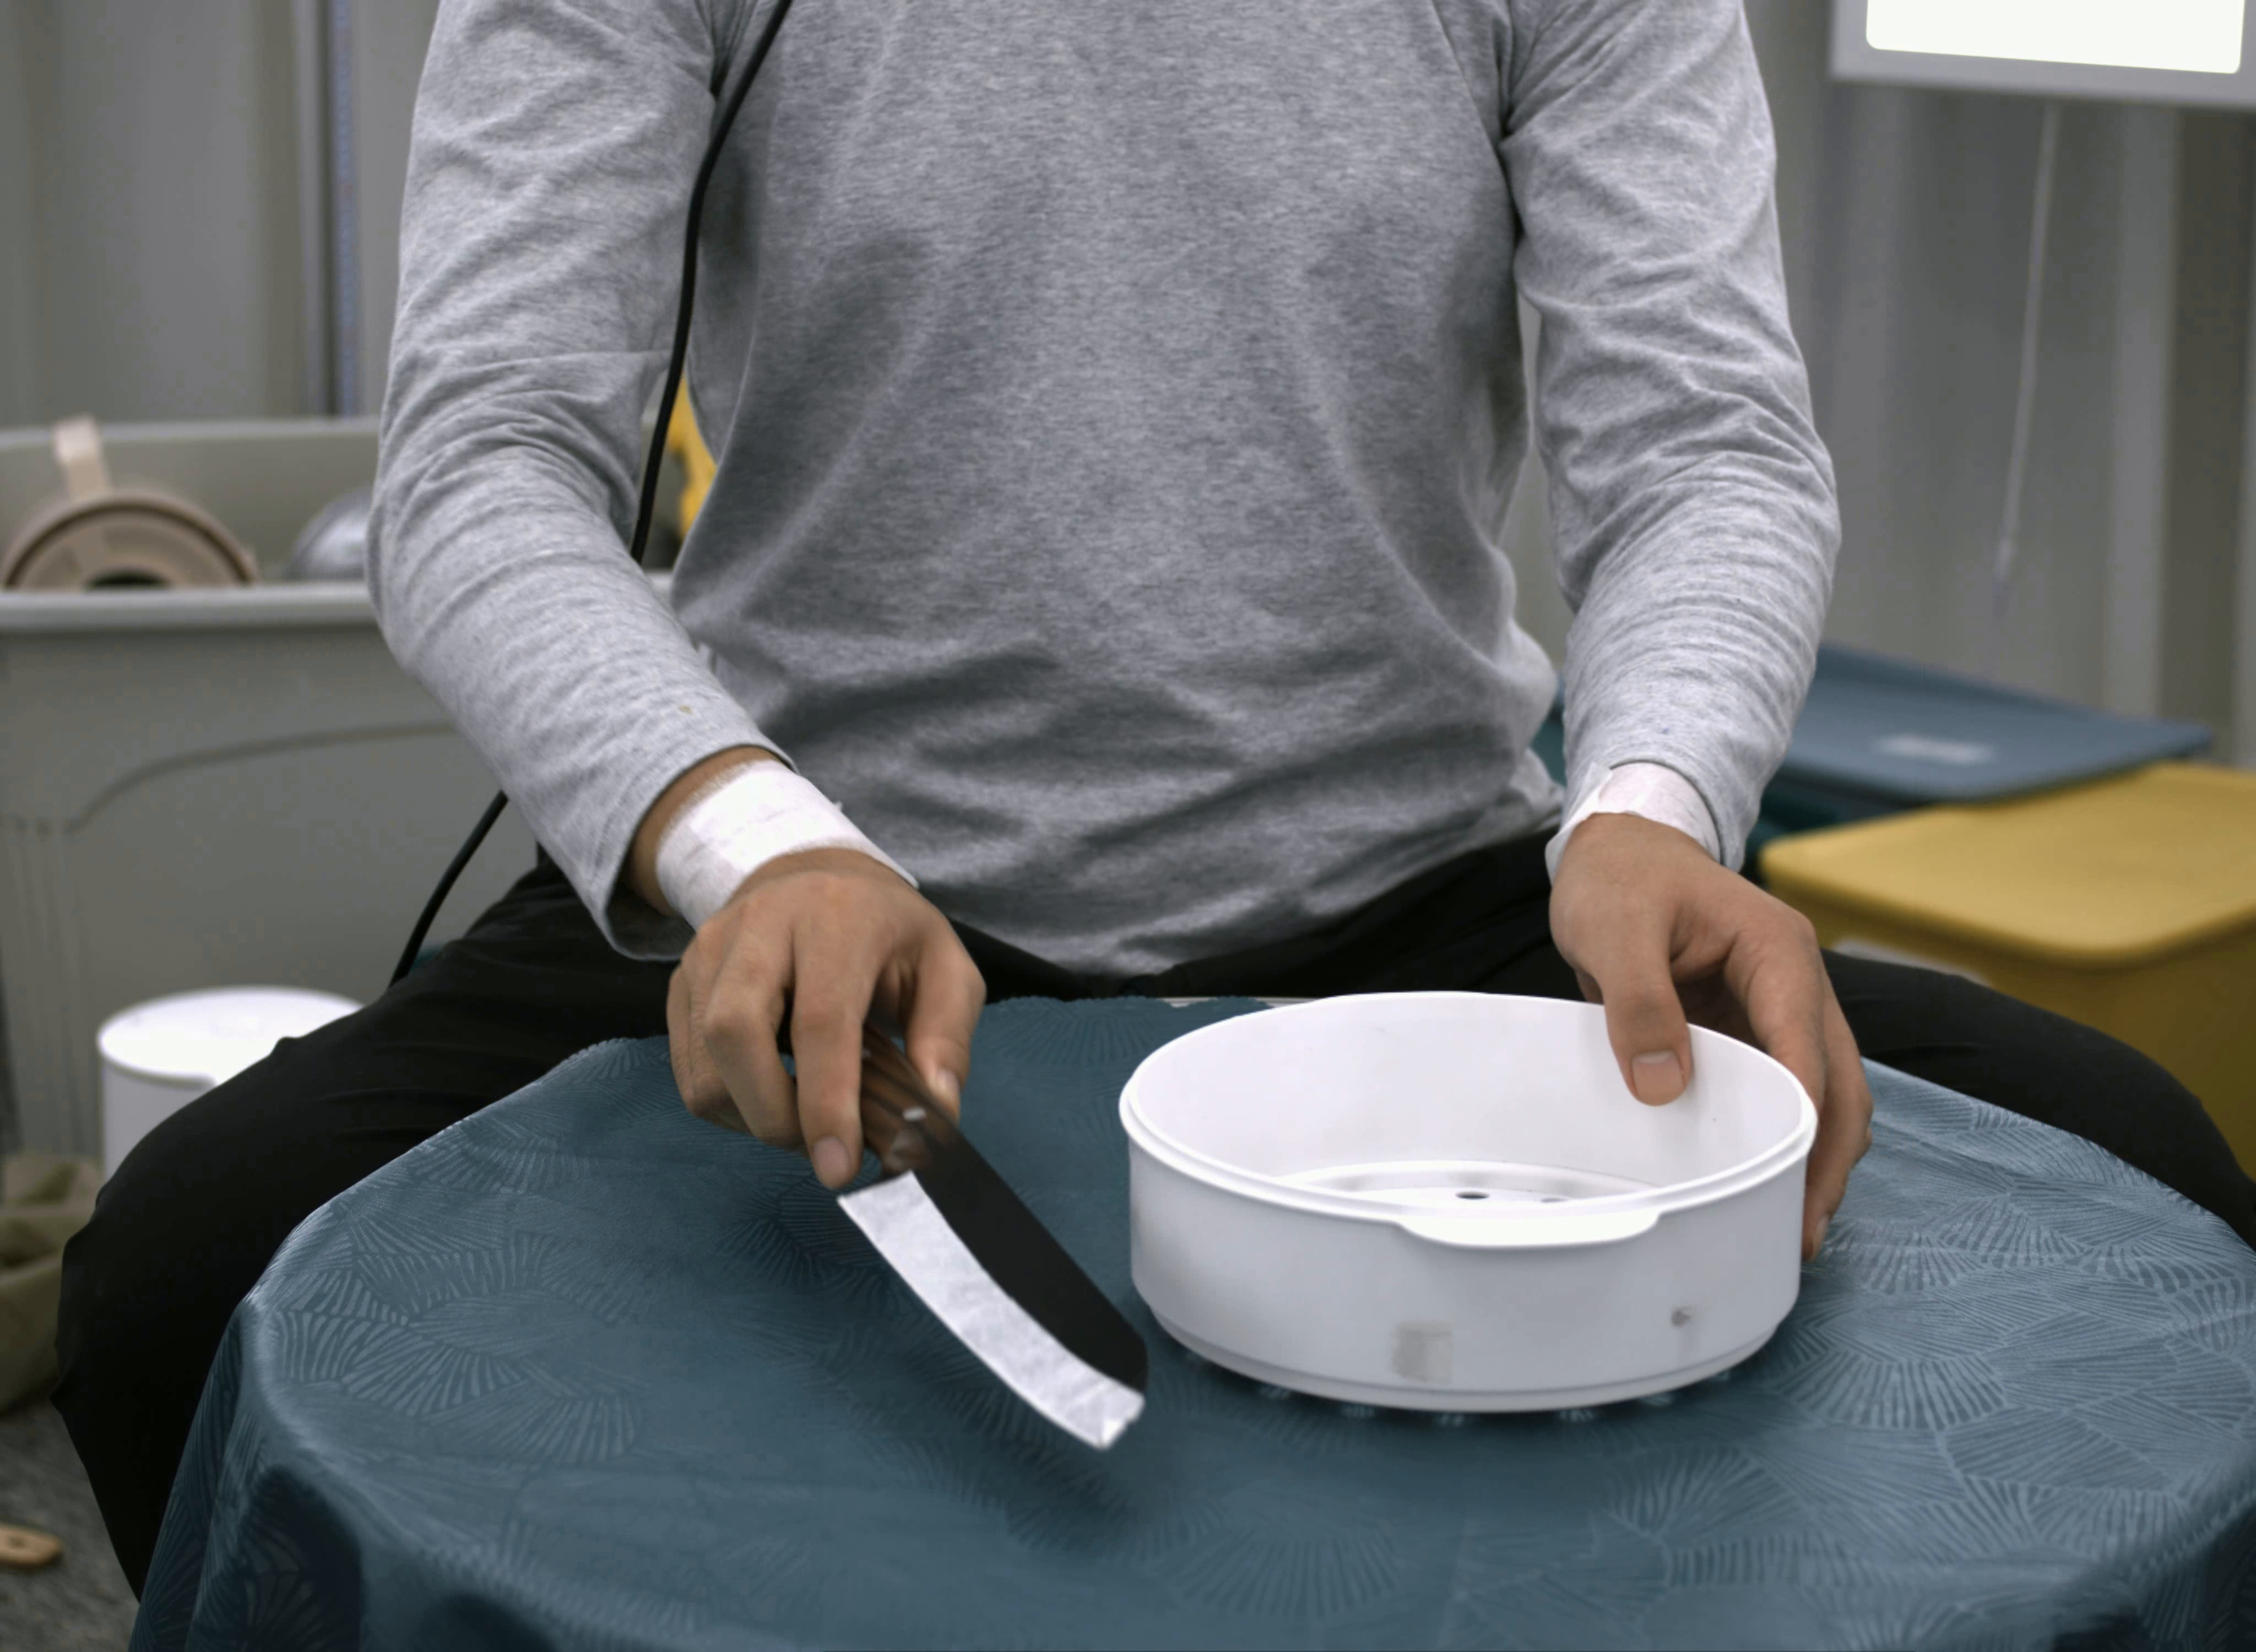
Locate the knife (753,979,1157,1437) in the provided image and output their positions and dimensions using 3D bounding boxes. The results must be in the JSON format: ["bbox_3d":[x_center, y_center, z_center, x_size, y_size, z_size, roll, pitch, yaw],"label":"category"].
[{"bbox_3d":[-0.053,0.105,1.479,0.050,0.020,0.285,-18,27,-15],"label":"knife"}]

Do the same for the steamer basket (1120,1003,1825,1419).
[{"bbox_3d":[0.098,0.109,1.512,0.202,0.070,0.229,-1,15,-7],"label":"steamer basket"}]
